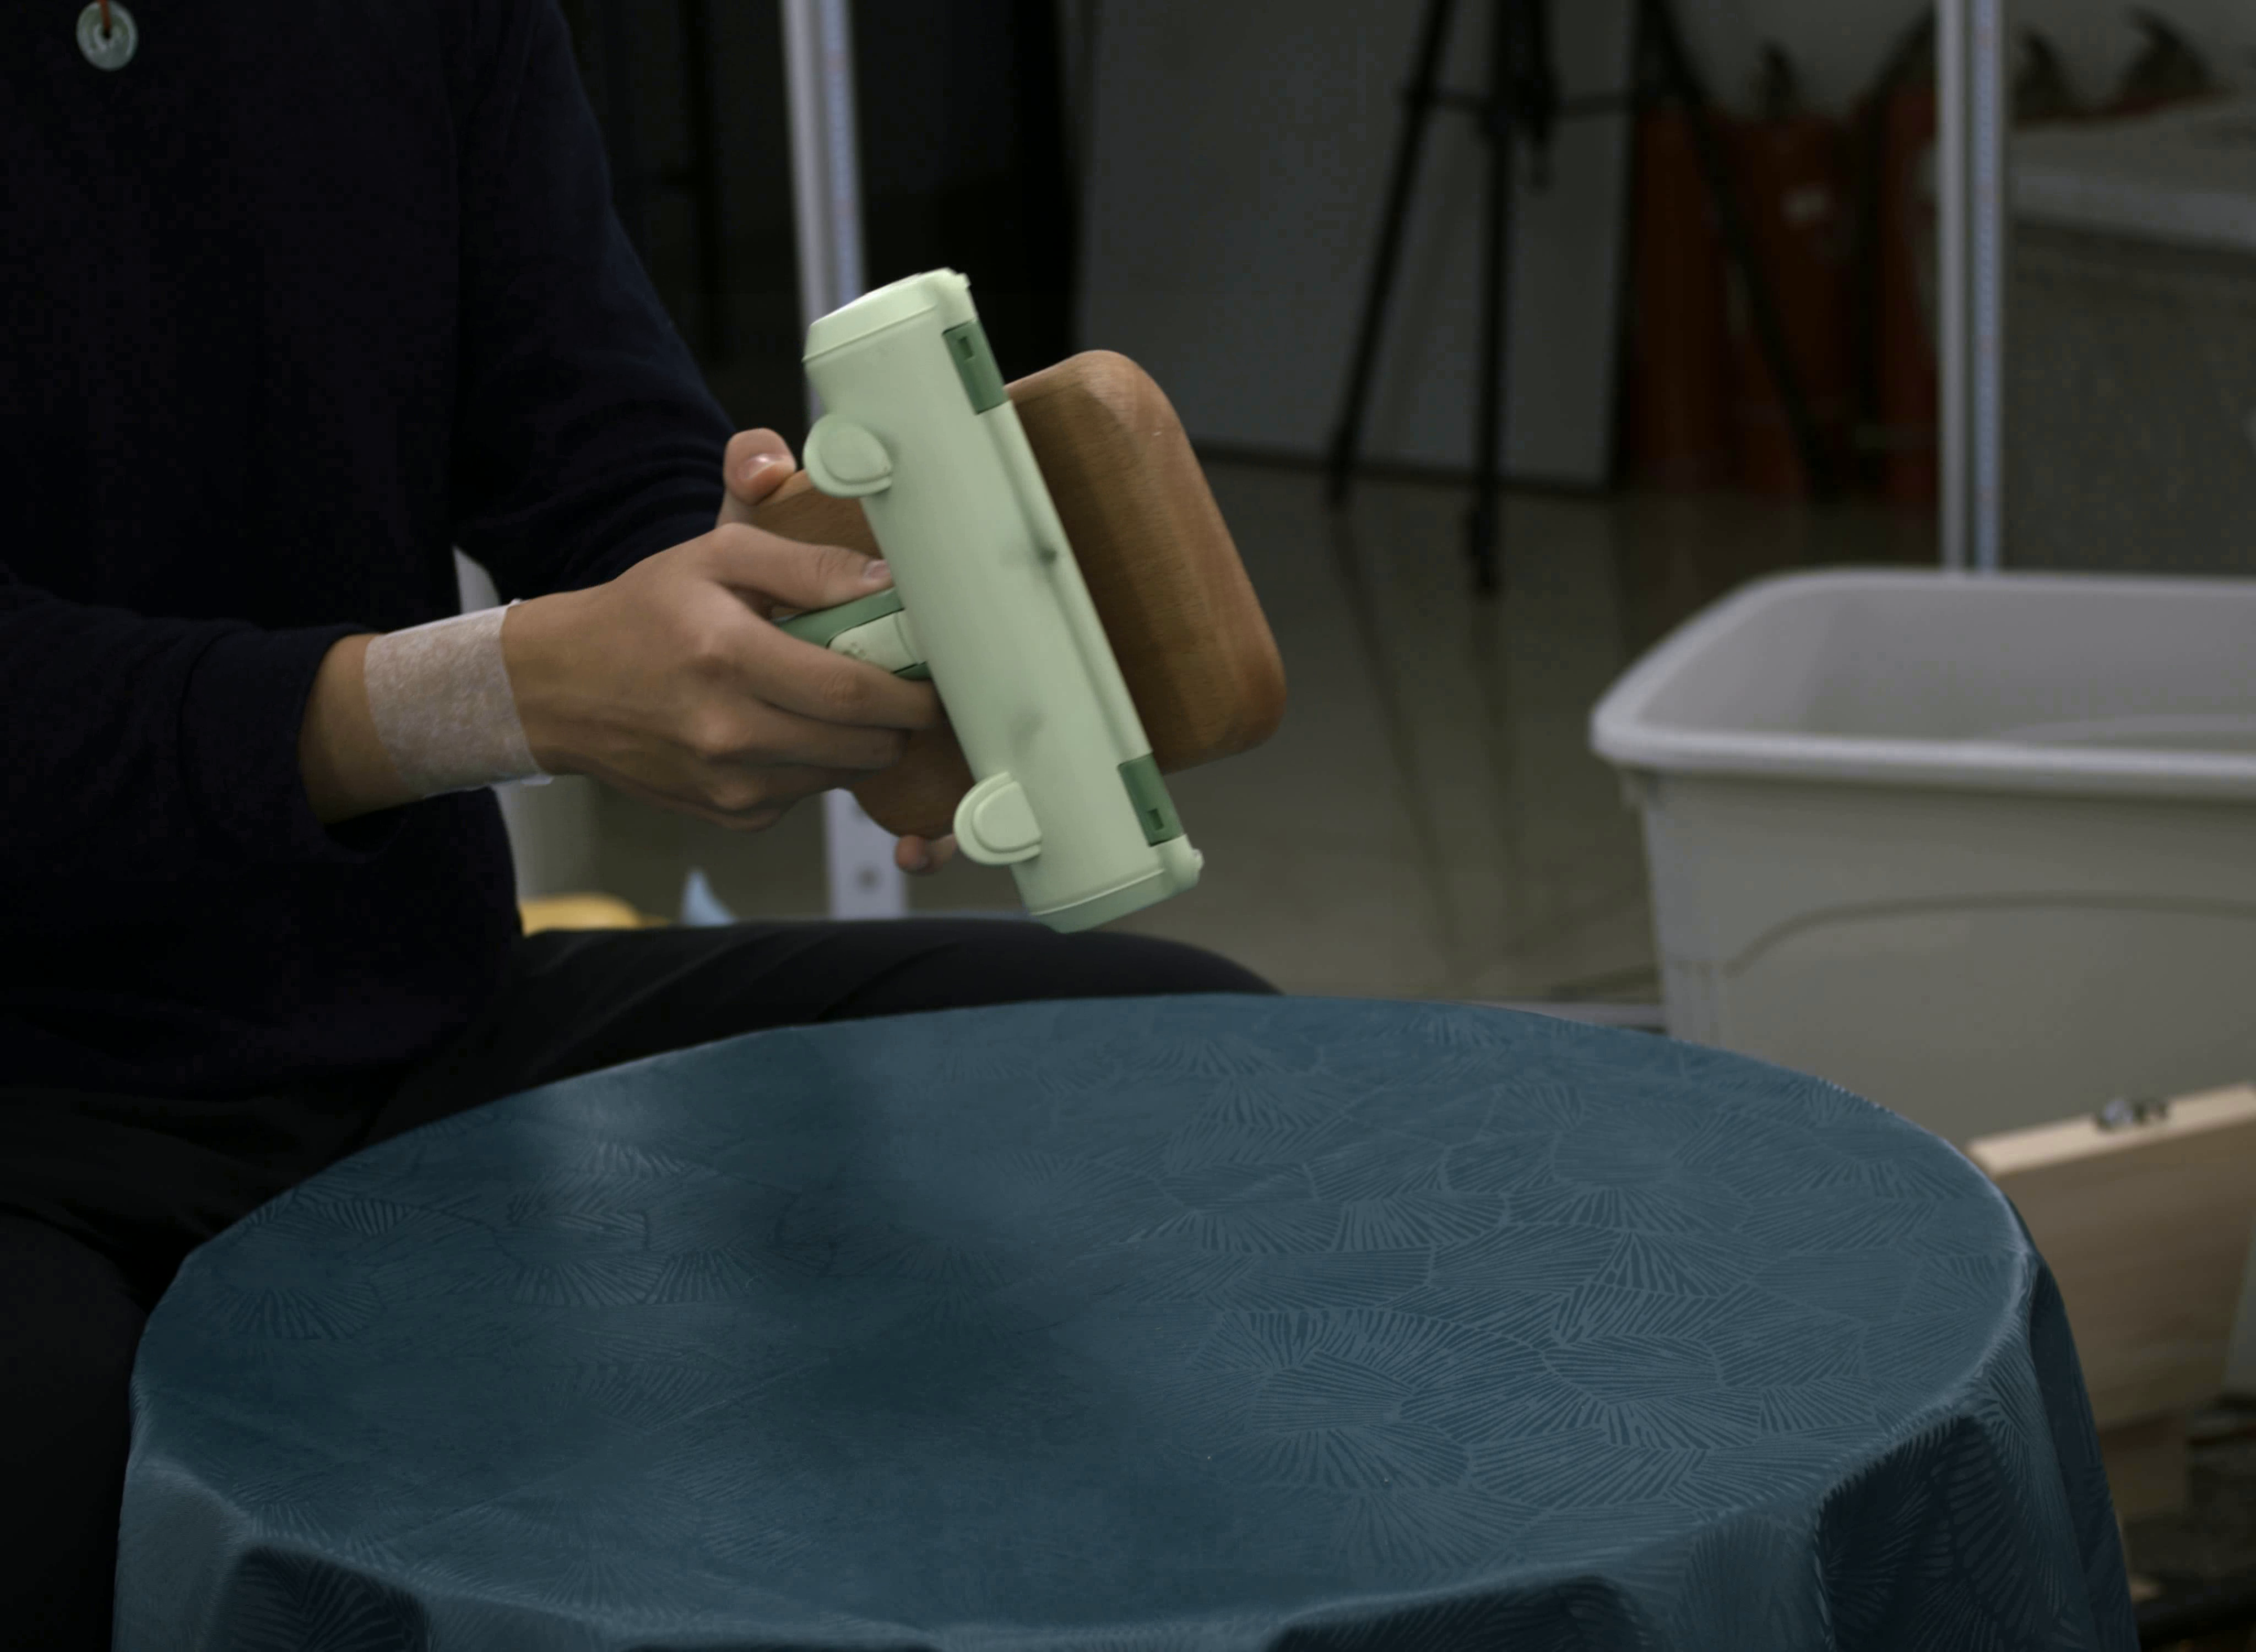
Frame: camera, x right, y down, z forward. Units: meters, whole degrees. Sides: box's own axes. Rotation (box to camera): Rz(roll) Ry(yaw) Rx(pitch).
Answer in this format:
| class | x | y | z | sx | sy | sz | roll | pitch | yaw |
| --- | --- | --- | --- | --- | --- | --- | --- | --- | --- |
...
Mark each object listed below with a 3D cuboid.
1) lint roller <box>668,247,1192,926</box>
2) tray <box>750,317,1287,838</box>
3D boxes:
| class | x | y | z | sx | sy | sz | roll | pitch | yaw |
| --- | --- | --- | --- | --- | --- | --- | --- | --- | --- |
| lint roller | -0.086 | -0.051 | 1.605 | 0.184 | 0.200 | 0.081 | -21 | 4 | 36 |
| tray | -0.039 | -0.070 | 1.639 | 0.022 | 0.132 | 0.253 | -23 | 2 | -31 |
